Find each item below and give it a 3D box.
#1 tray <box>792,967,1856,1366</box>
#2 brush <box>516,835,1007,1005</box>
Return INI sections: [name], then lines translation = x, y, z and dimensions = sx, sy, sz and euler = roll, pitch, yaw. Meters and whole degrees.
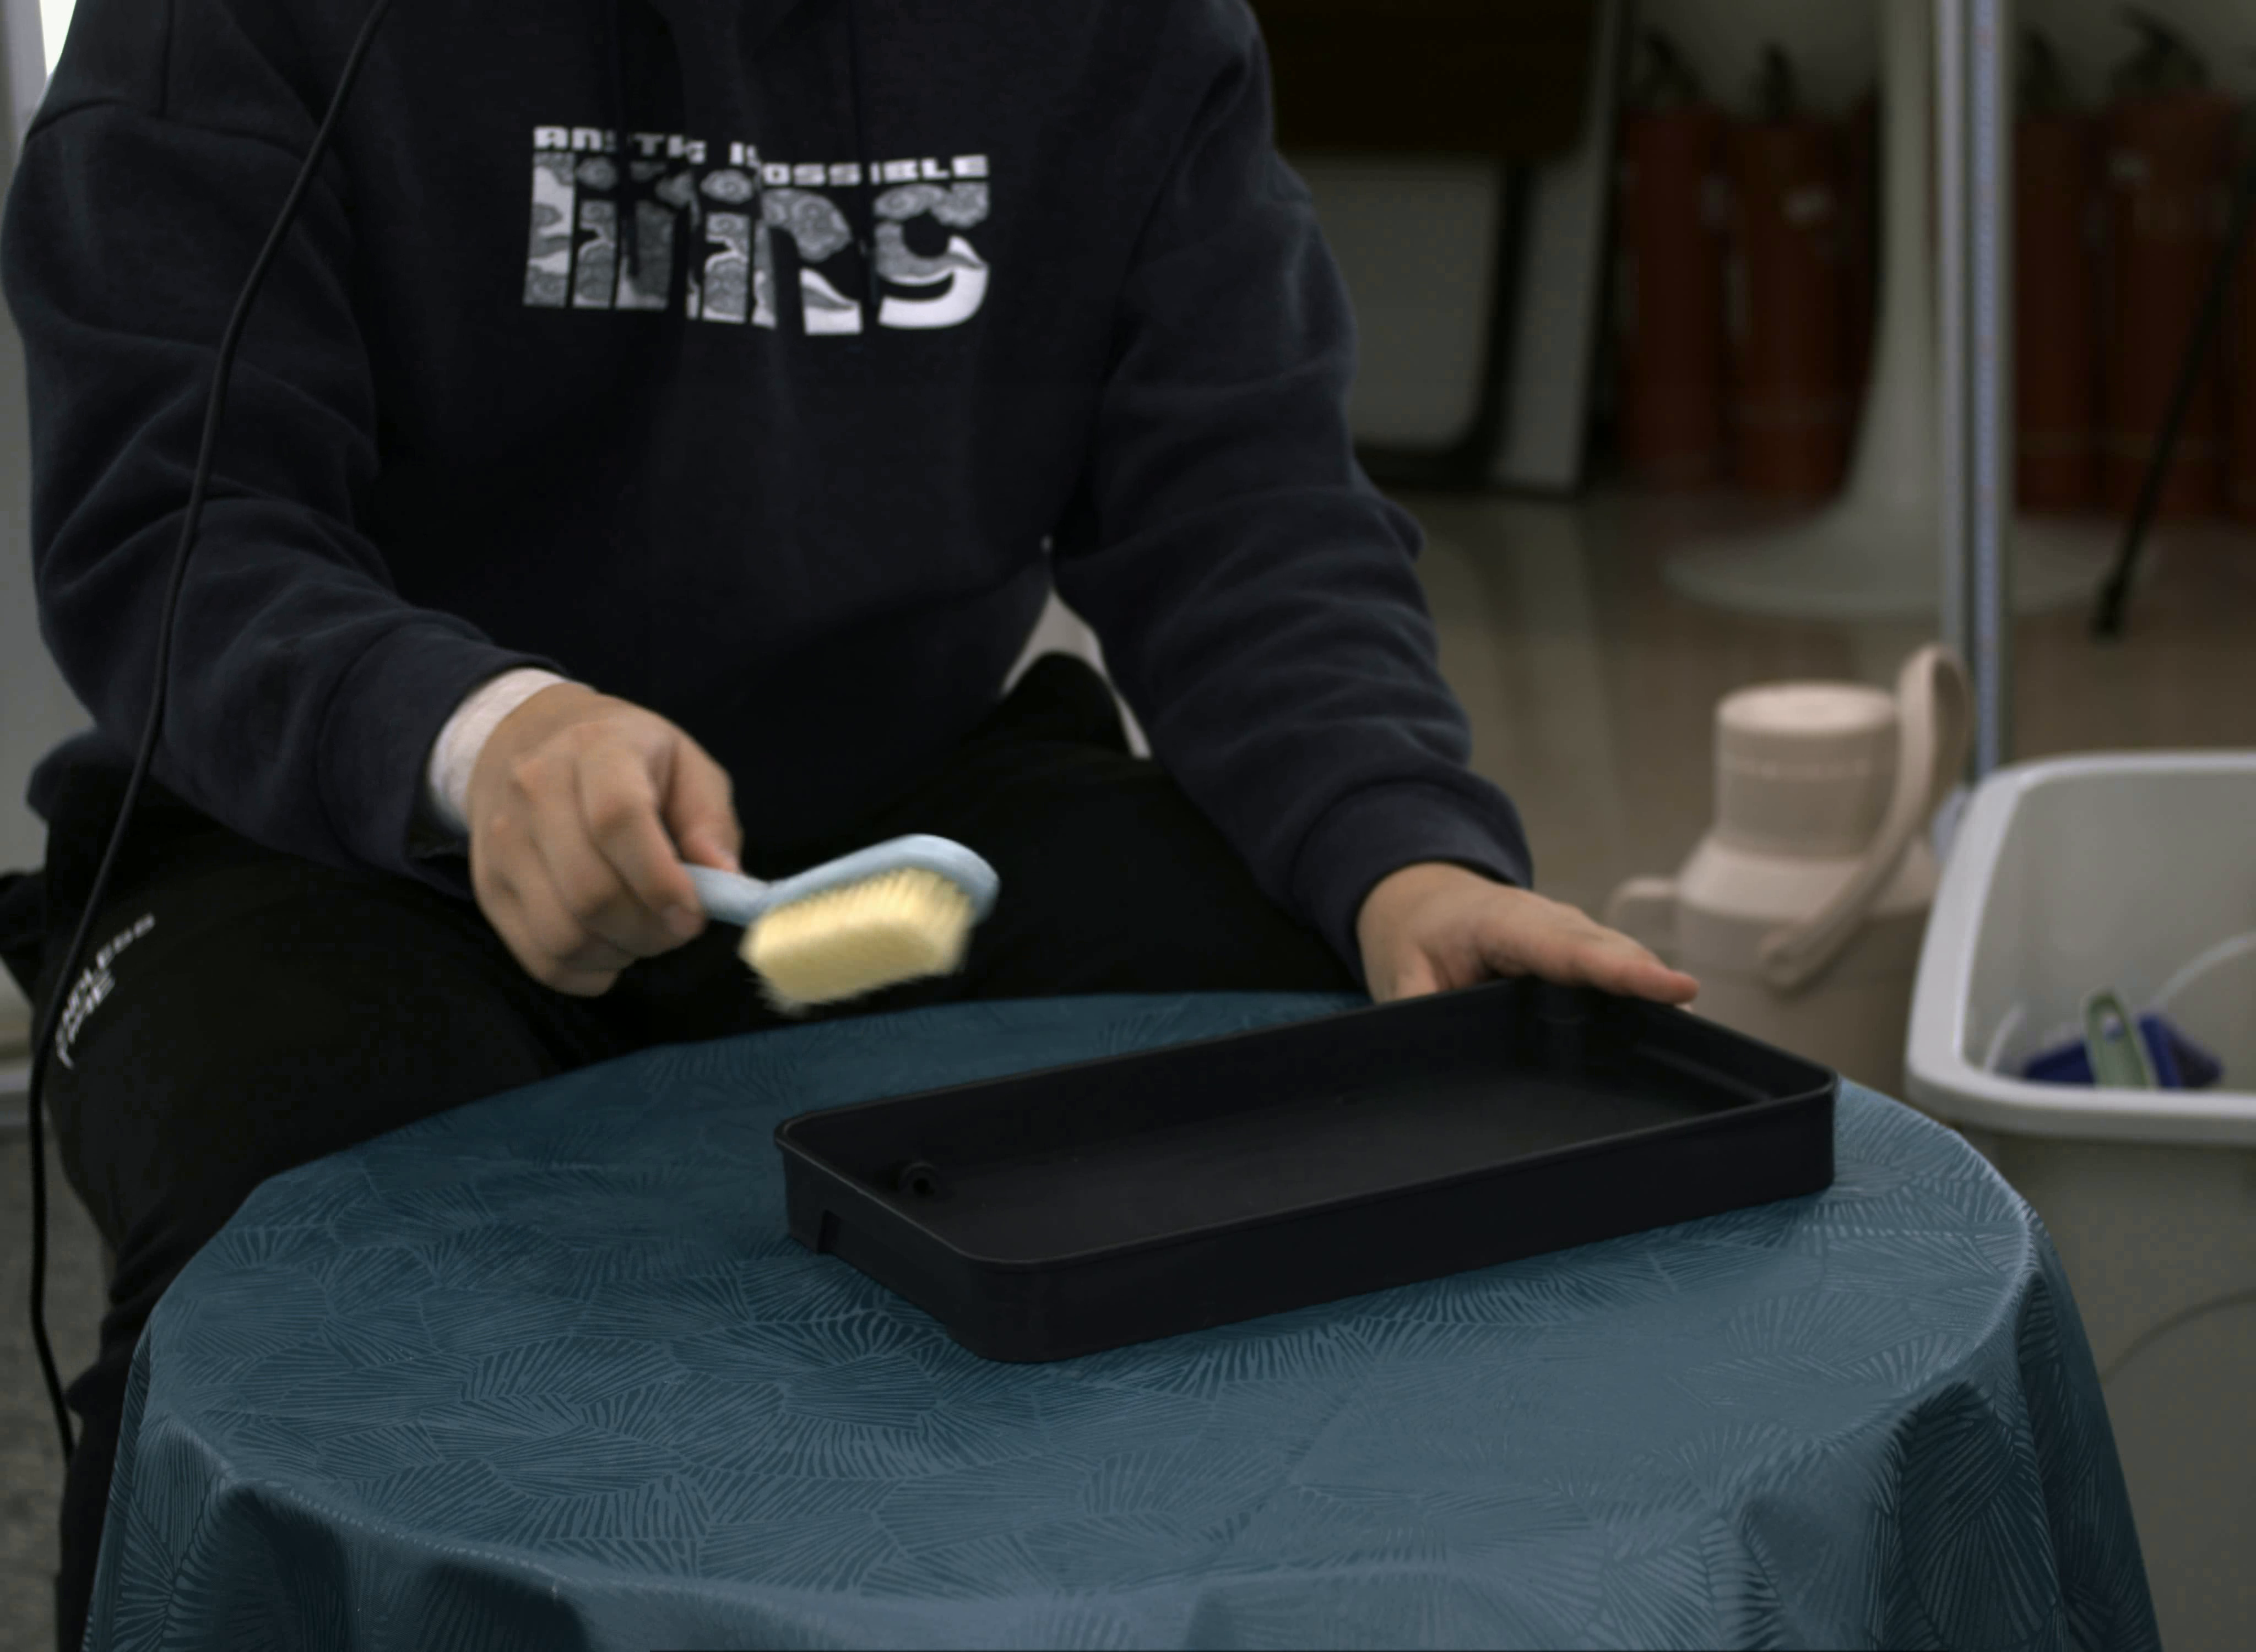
[tray]
translation = 0.065, 0.105, 1.745
dimensions = 0.311, 0.037, 0.186
euler = -11, 15, -26
[brush]
translation = -0.123, 0.030, 1.700
dimensions = 0.231, 0.050, 0.037
euler = -1, -33, 49
